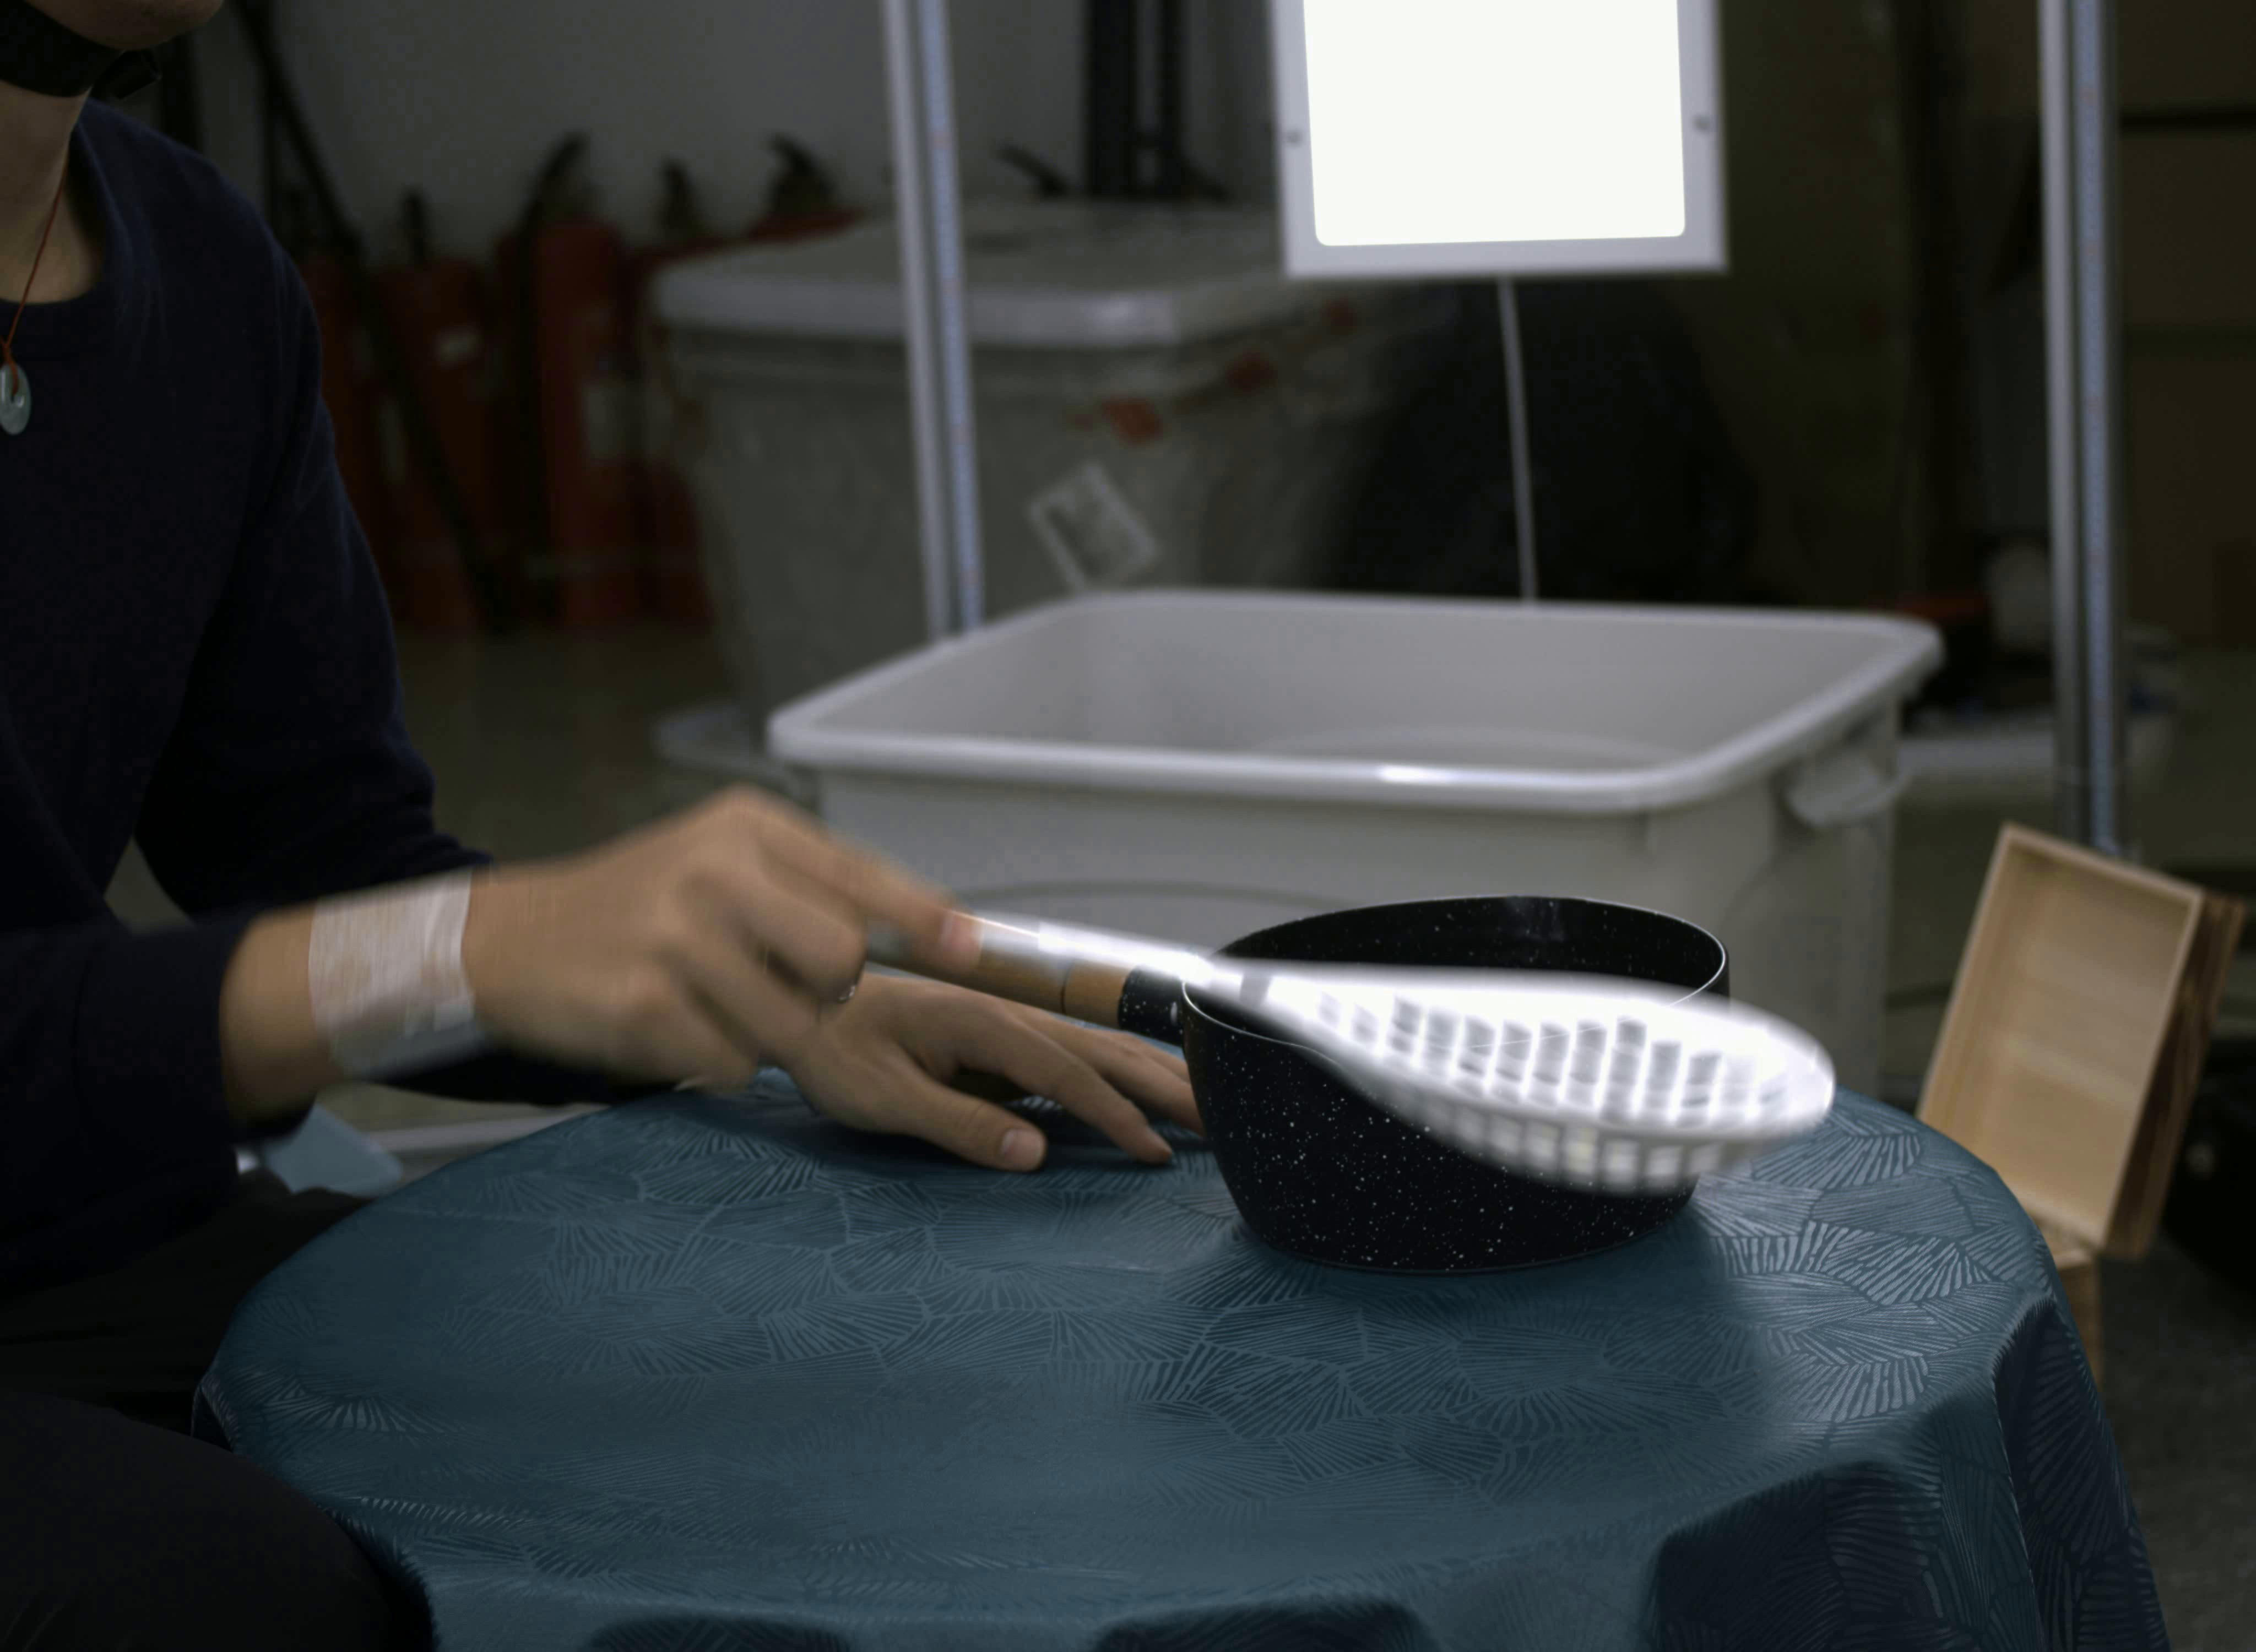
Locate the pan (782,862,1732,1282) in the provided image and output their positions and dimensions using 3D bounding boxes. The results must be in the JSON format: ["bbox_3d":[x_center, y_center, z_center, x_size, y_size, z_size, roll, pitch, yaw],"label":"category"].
[{"bbox_3d":[0.038,0.074,1.870,0.348,0.108,0.203,3,17,24],"label":"pan"}]

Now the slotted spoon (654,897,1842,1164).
[{"bbox_3d":[0.034,0.048,1.604,0.349,0.050,0.135,14,16,9],"label":"slotted spoon"}]
